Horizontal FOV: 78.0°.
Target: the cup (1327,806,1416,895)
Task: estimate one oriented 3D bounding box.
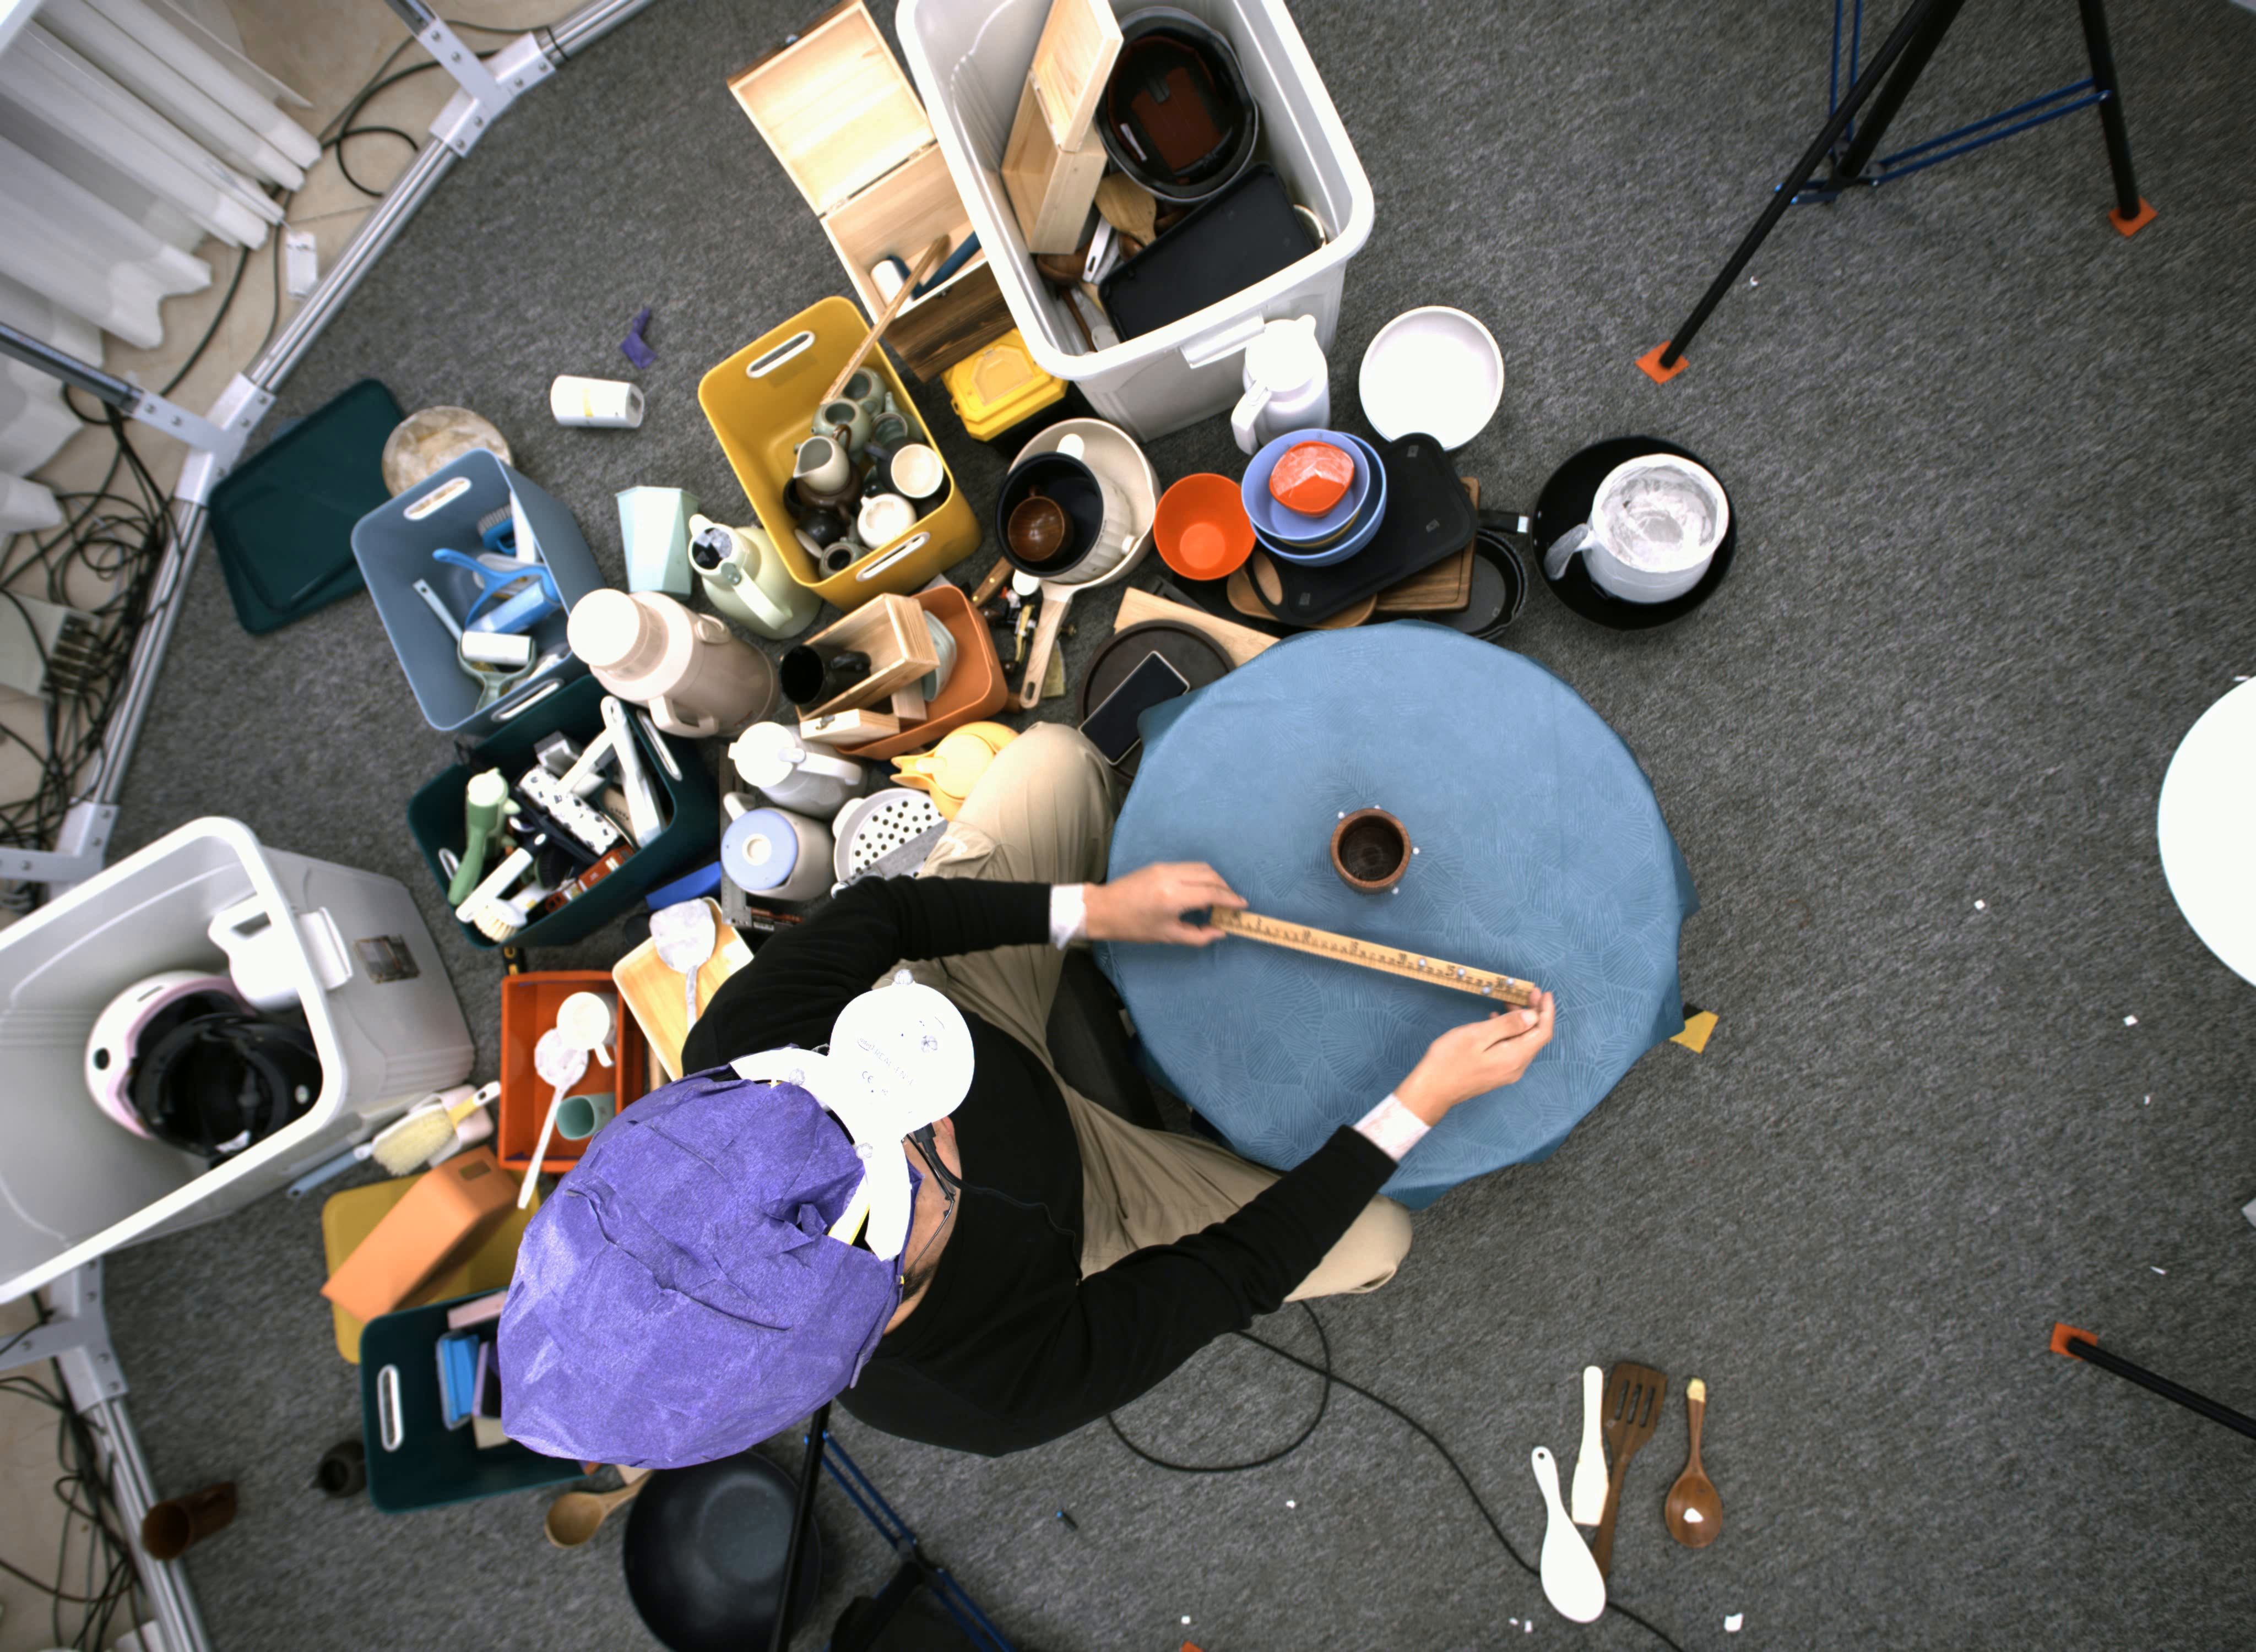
[{"bbox_3d":[0.249,0.026,1.407,0.088,0.118,0.087,-1,84,11],"label":"cup"}]

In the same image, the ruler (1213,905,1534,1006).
[{"bbox_3d":[0.249,0.131,1.420,0.332,0.022,0.027,13,89,11],"label":"ruler"}]
